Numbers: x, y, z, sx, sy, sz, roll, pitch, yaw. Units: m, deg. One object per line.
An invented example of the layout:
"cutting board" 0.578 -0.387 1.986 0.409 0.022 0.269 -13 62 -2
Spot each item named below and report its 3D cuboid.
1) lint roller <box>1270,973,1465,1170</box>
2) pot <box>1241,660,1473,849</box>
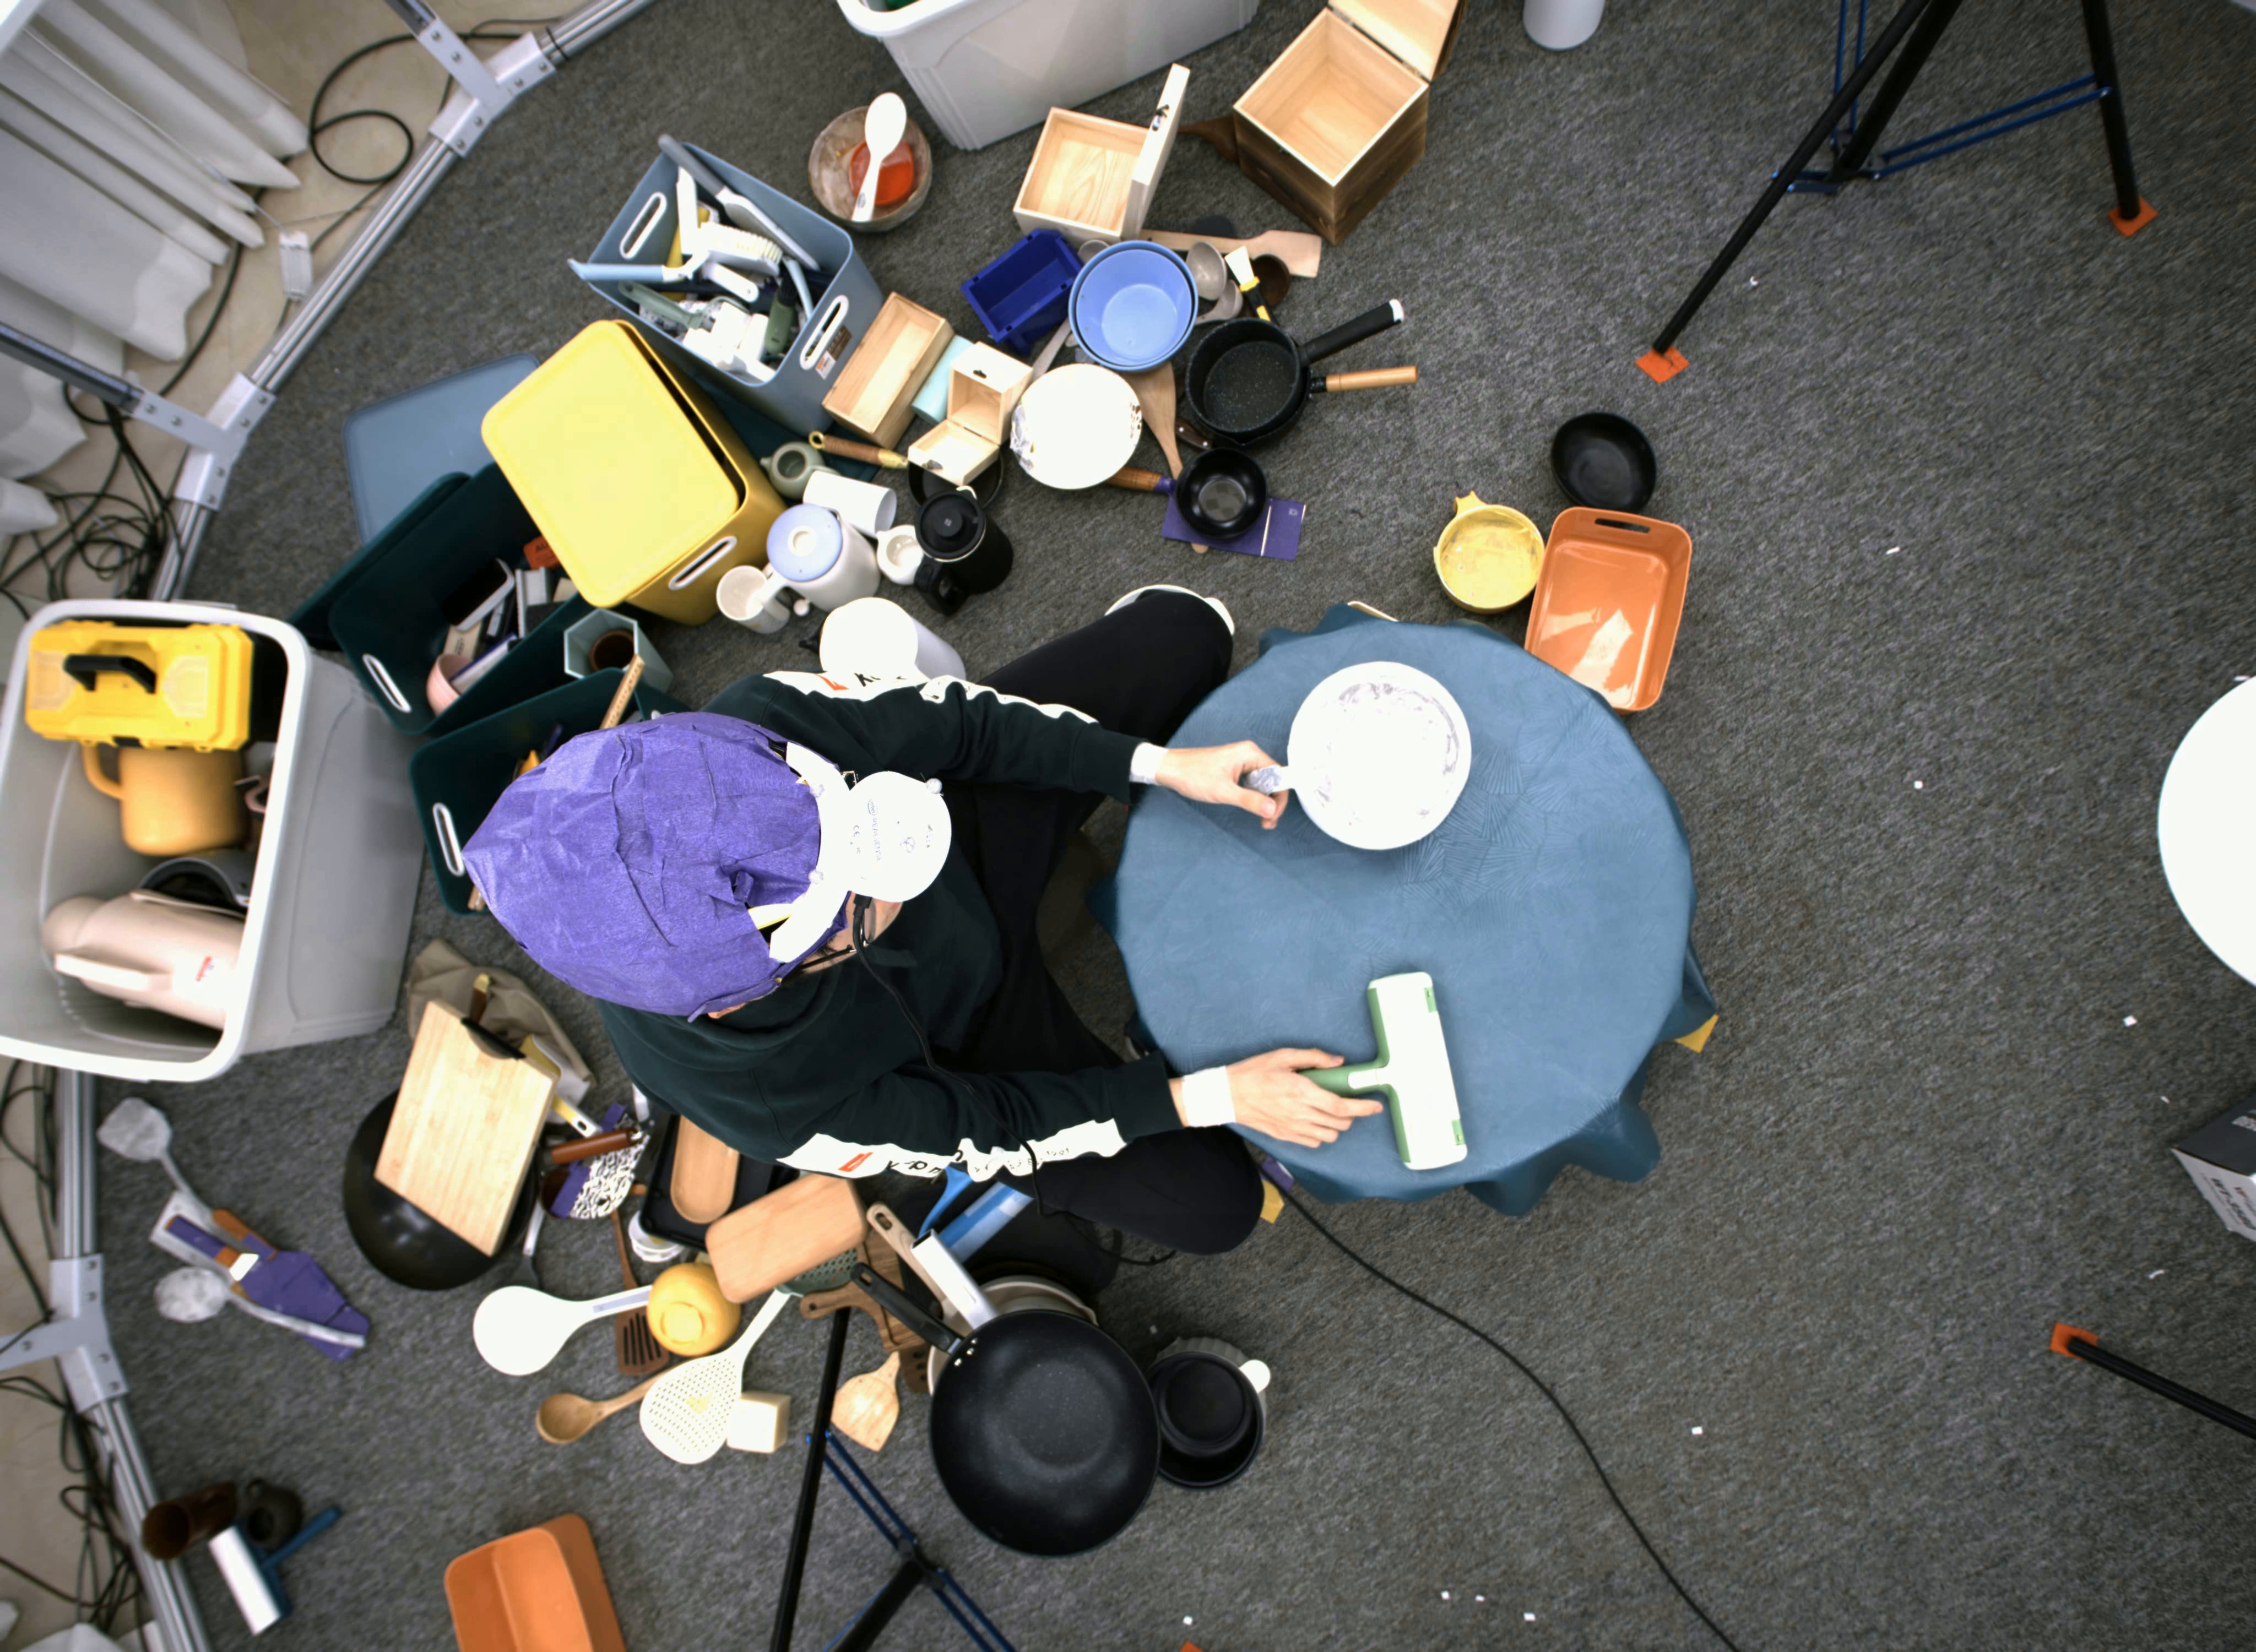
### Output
"lint roller" 0.236 0.259 1.414 0.184 0.082 0.197 -11 85 4
"pot" 0.228 -0.063 1.401 0.235 0.137 0.177 -13 83 9
